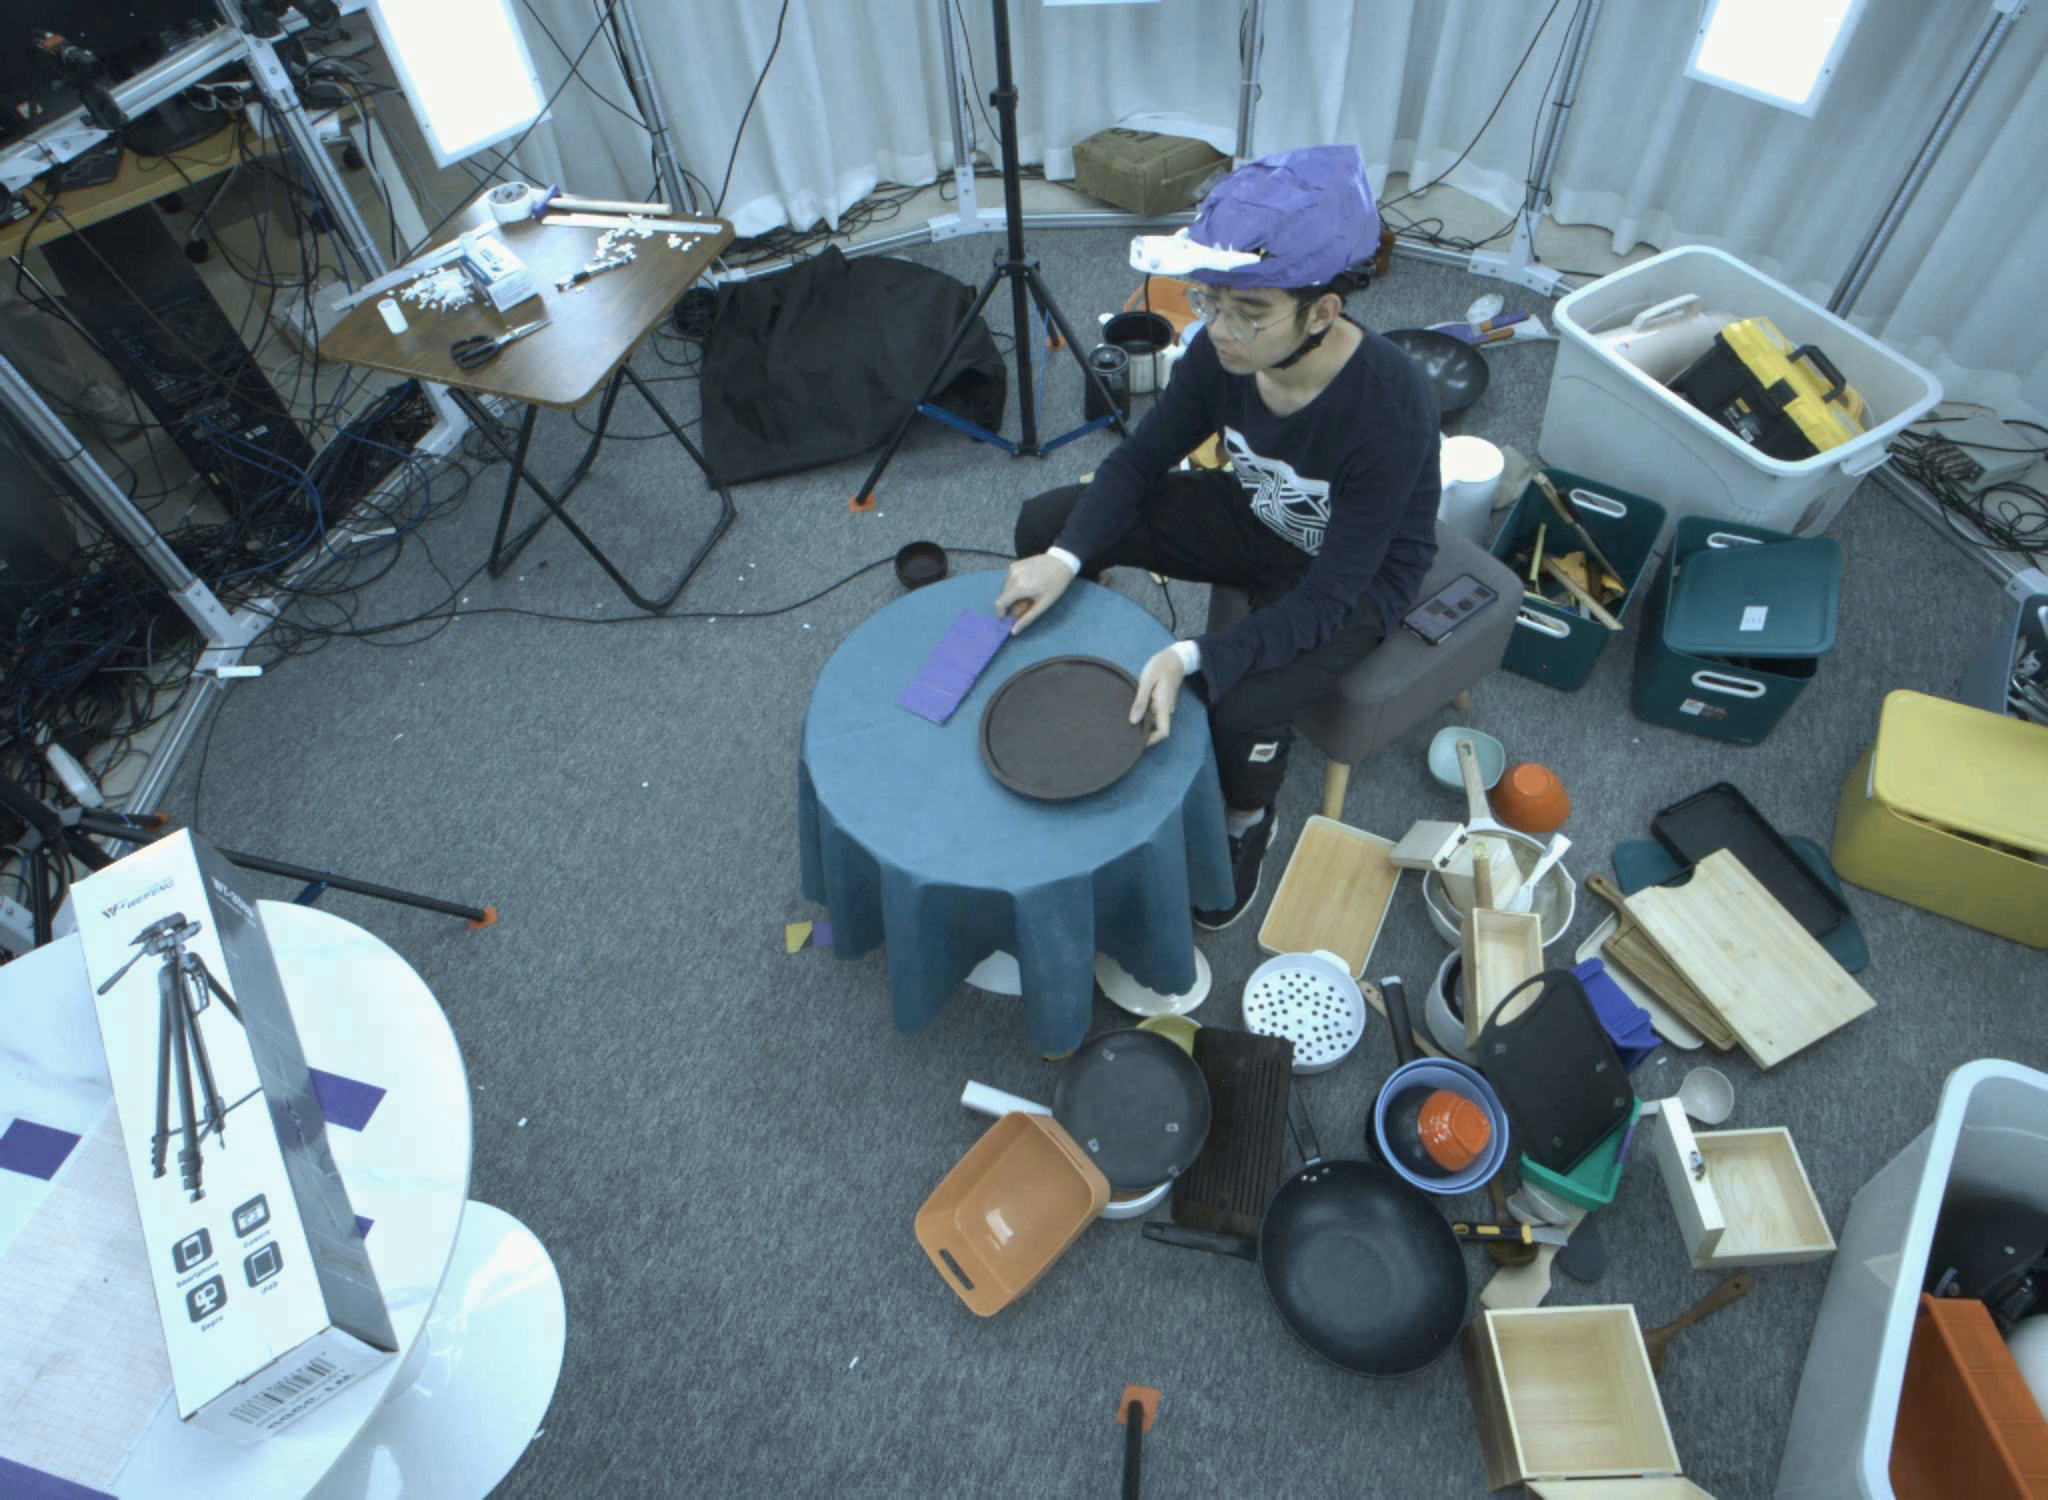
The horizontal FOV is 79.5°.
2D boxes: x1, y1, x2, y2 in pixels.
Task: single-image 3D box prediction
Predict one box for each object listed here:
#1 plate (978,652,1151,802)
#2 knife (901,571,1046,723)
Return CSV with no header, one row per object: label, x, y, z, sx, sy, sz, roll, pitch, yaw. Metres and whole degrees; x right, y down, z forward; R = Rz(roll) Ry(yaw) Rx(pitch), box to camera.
plate,0.059,-0.033,1.784,0.253,0.029,0.252,-4,58,8
knife,-0.080,-0.173,1.897,0.102,0.032,0.316,23,60,21
